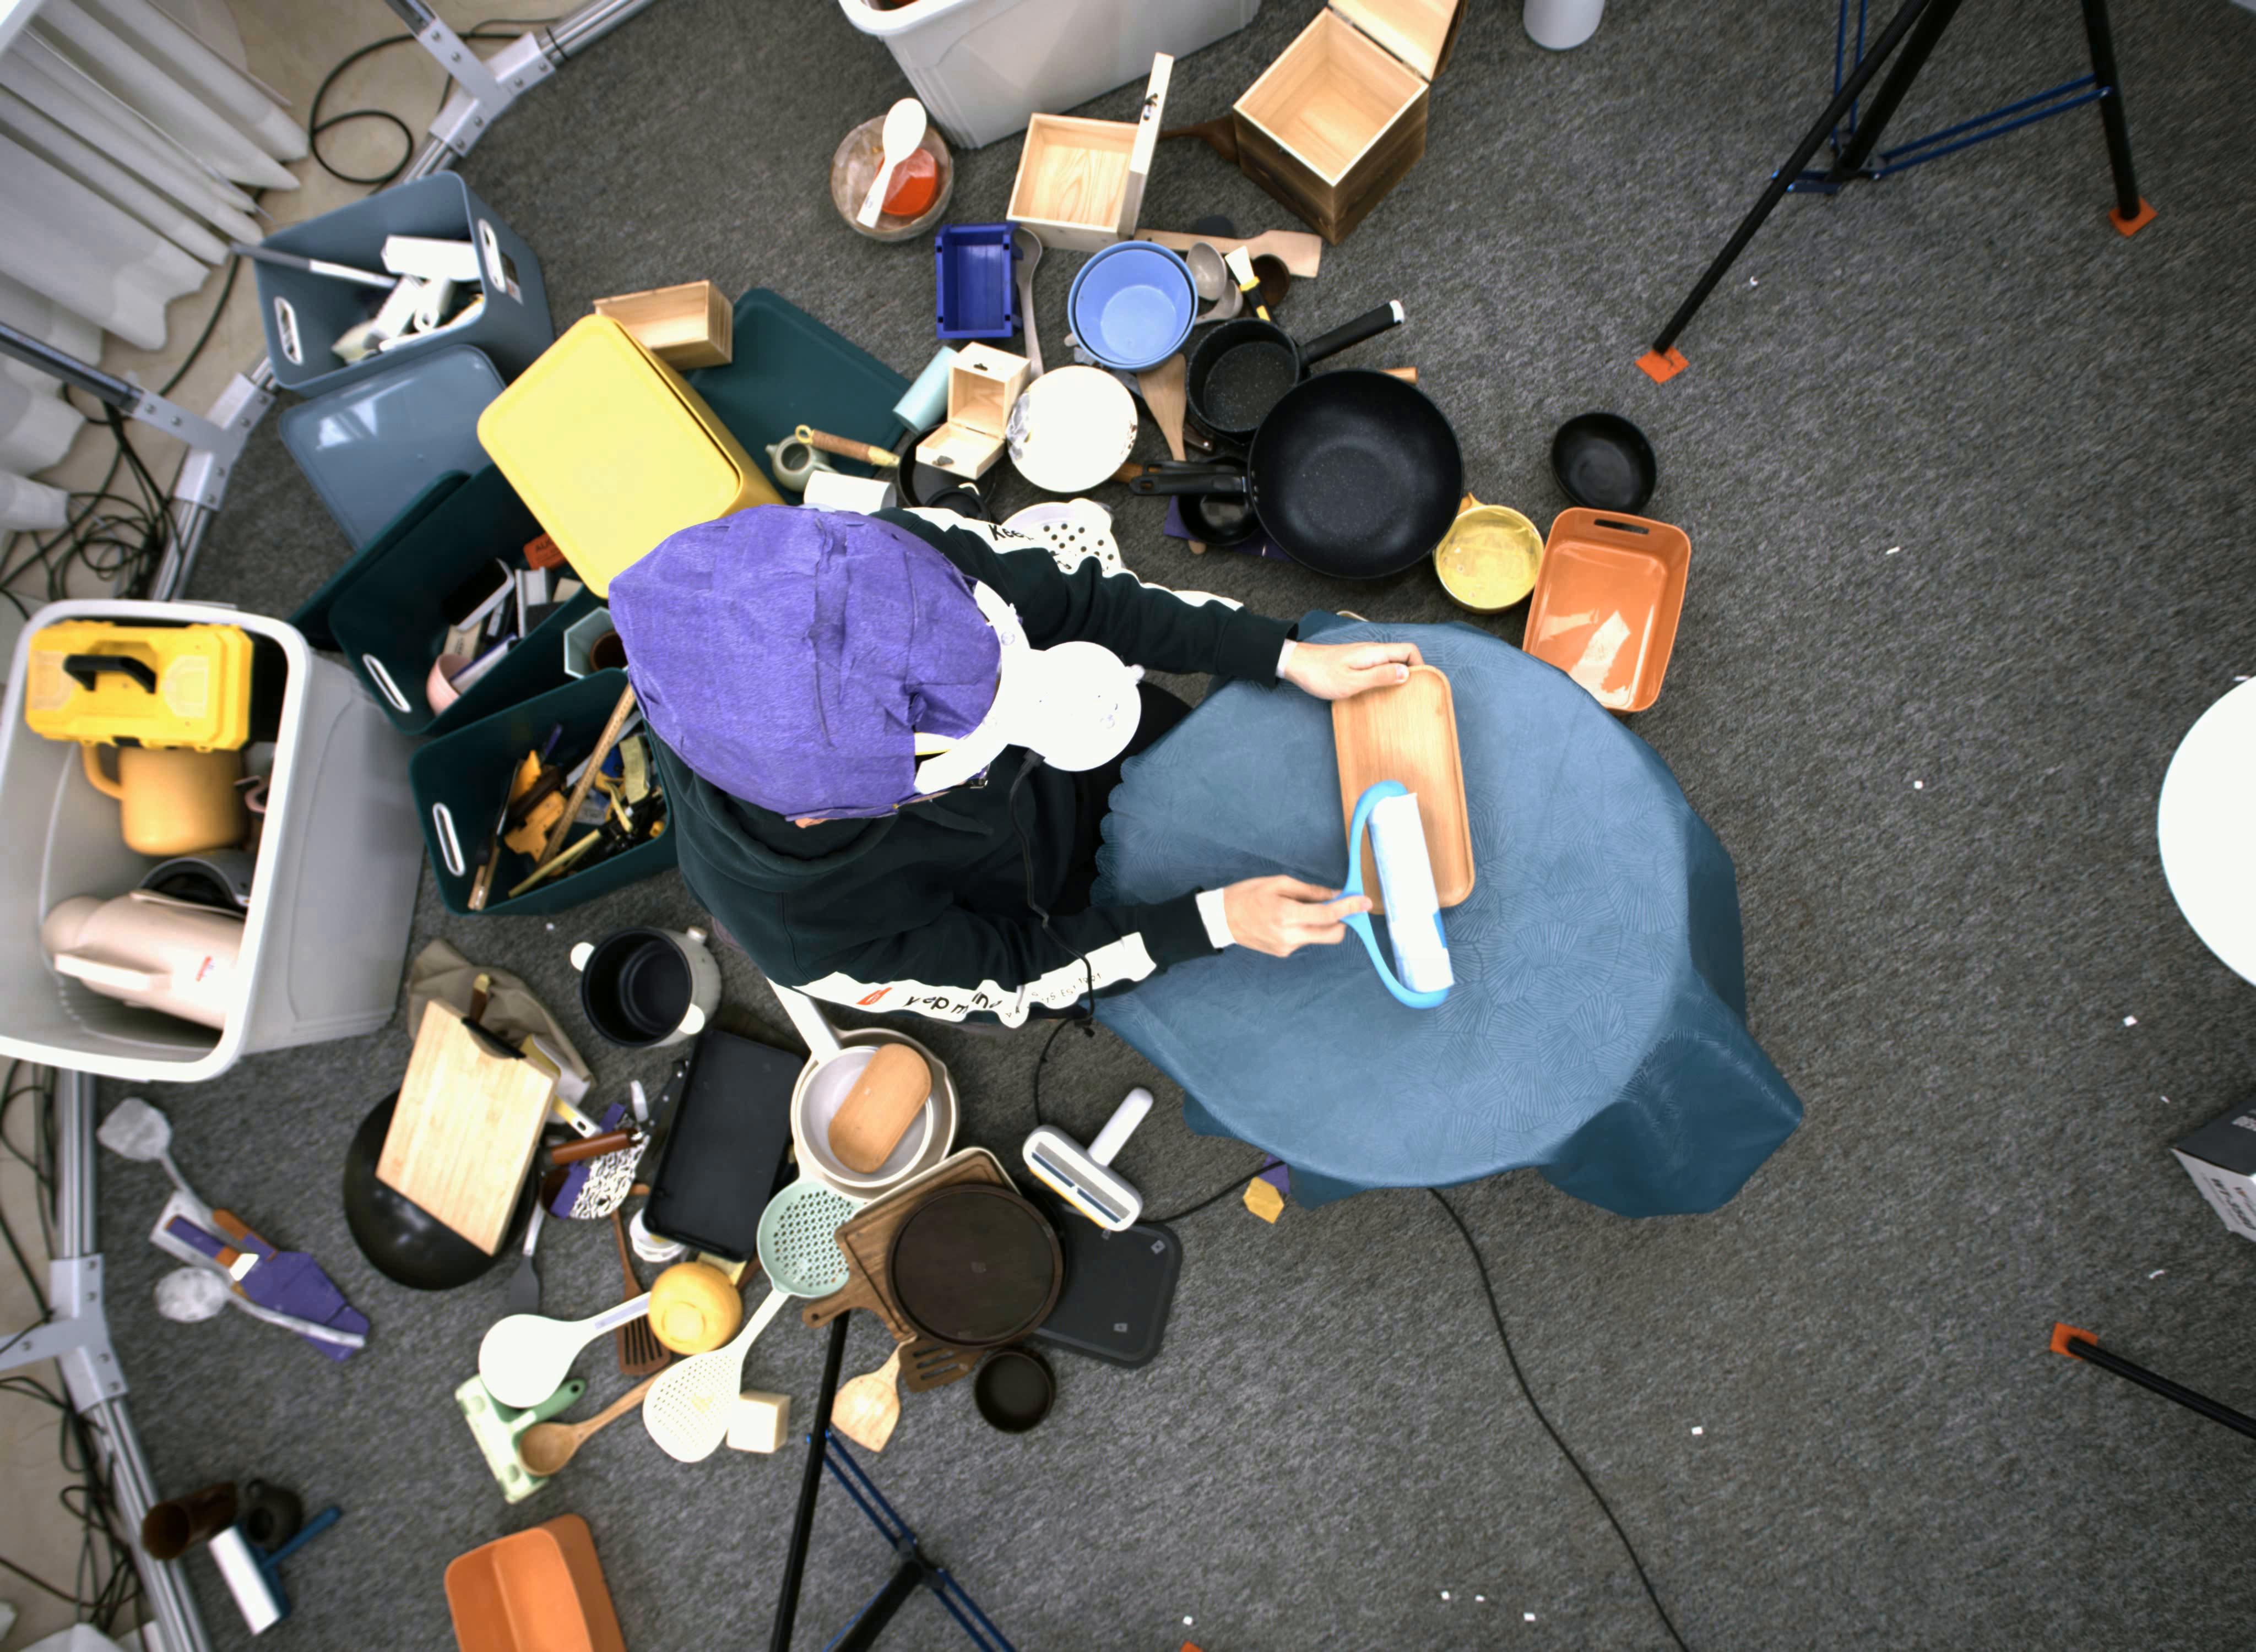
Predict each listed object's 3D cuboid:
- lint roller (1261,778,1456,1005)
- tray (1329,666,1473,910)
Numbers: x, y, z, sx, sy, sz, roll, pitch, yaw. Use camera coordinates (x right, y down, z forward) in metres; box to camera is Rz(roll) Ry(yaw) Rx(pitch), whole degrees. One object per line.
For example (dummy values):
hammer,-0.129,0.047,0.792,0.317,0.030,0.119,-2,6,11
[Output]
lint roller,0.221,0.078,1.376,0.181,0.067,0.229,-14,92,6
tray,0.280,-0.037,1.414,0.132,0.023,0.249,-7,87,28
